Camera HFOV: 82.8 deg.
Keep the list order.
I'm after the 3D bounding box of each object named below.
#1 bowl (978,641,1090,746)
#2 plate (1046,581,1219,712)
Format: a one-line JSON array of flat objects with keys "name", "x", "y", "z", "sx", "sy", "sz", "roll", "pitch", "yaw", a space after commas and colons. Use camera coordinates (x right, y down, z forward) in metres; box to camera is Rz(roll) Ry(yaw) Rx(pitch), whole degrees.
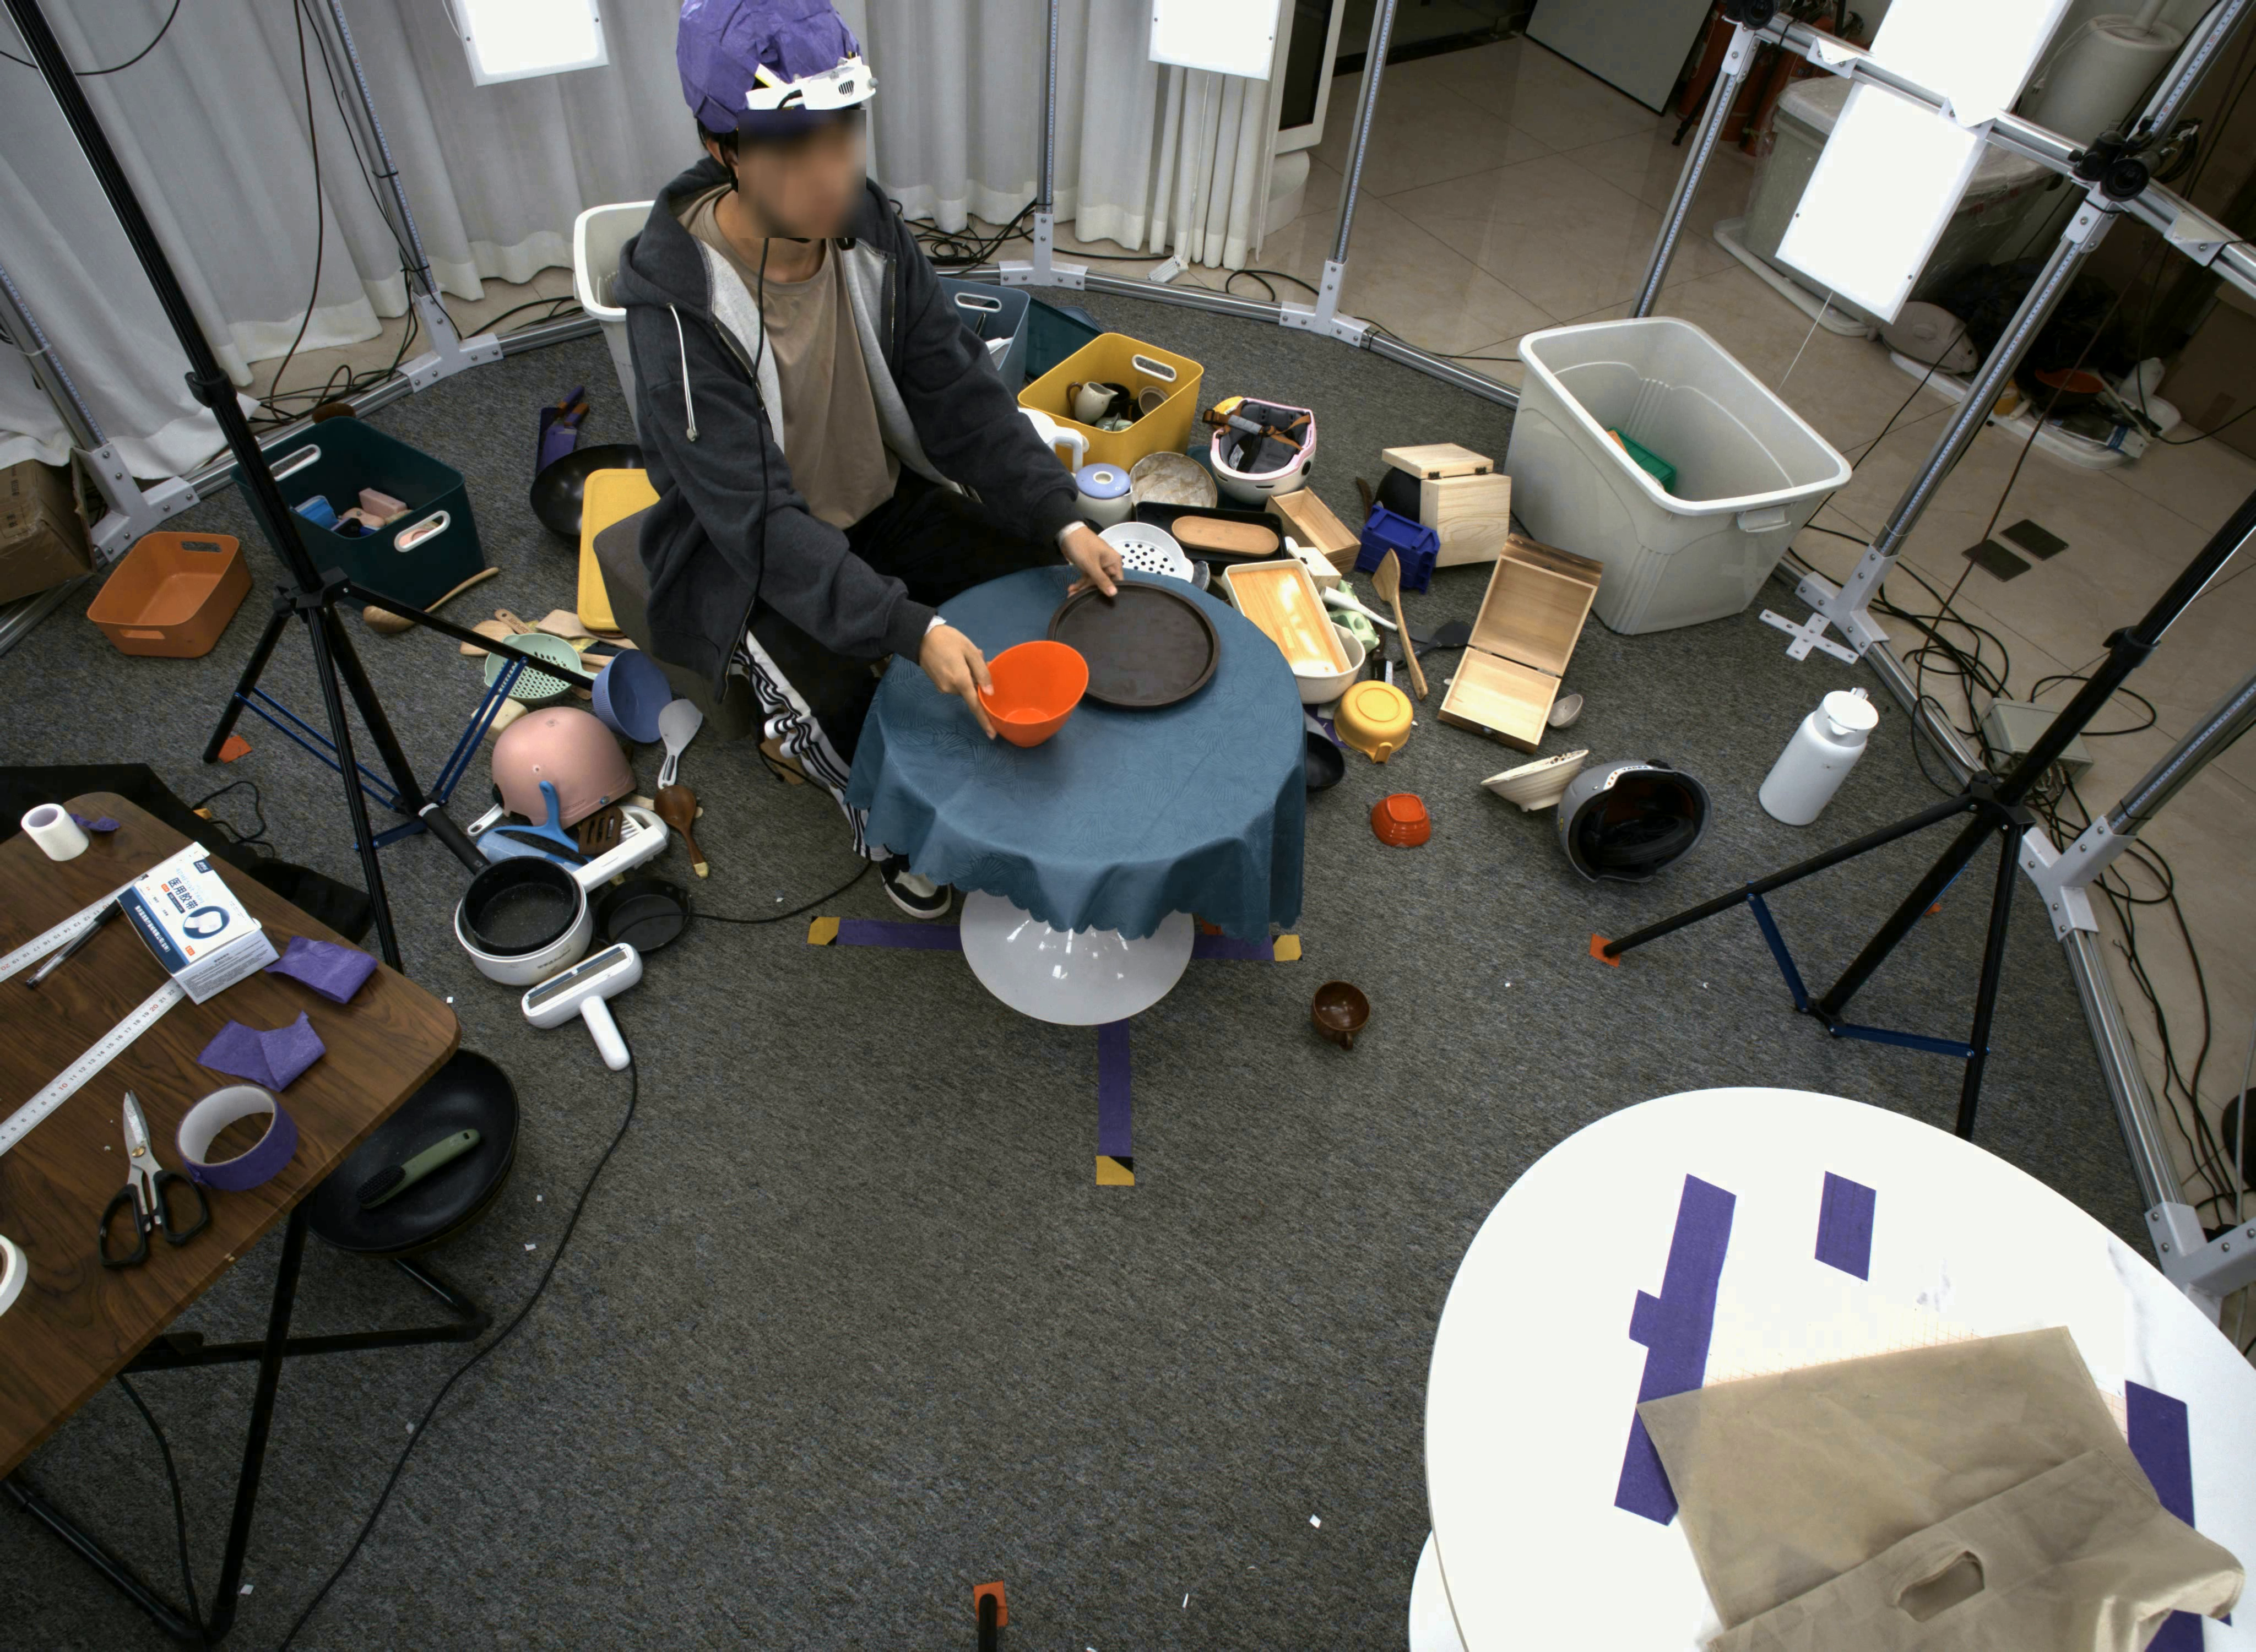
[{"name": "bowl", "x": -0.128, "y": -0.167, "z": 1.734, "sx": 0.148, "sy": 0.102, "sz": 0.151, "roll": 2, "pitch": 53, "yaw": -3}, {"name": "plate", "x": 0.007, "y": -0.263, "z": 1.873, "sx": 0.254, "sy": 0.028, "sz": 0.261, "roll": 2, "pitch": 53, "yaw": -3}]
